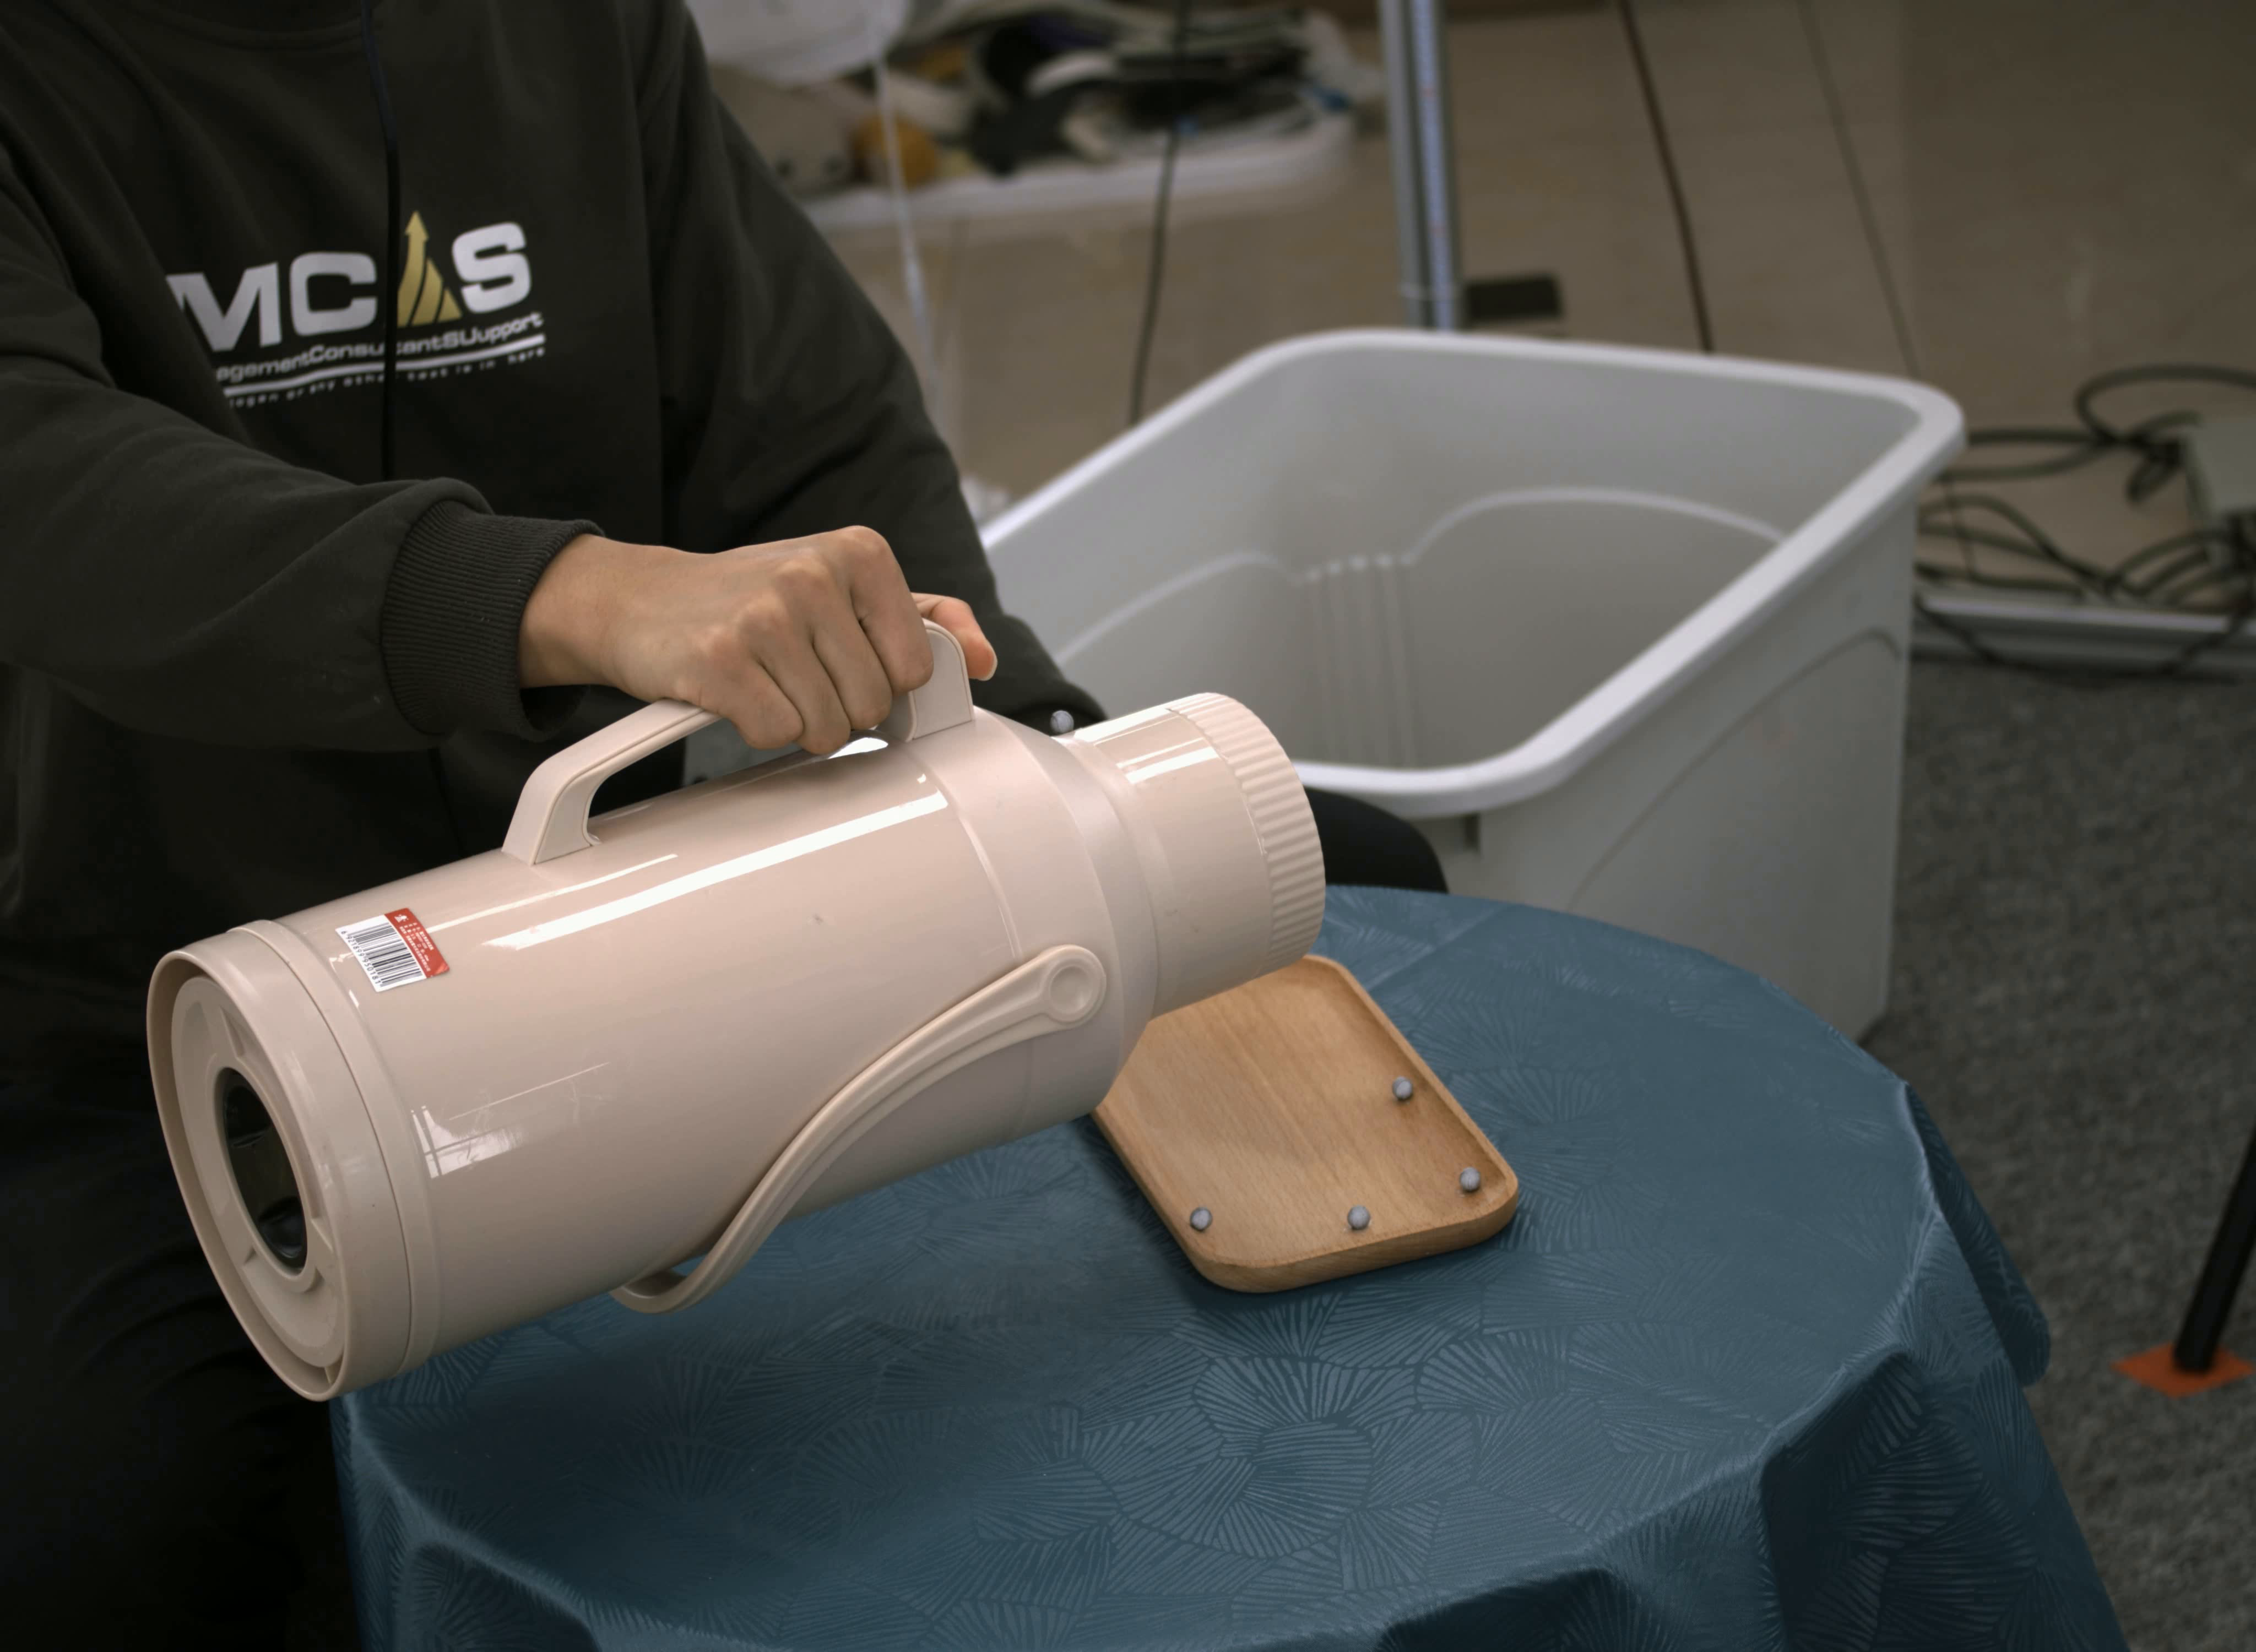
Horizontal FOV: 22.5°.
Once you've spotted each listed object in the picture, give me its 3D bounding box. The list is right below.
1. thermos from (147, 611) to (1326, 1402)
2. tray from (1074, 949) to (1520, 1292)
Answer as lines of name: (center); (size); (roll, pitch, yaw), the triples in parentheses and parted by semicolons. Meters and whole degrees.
thermos: (-0.130, 0.046, 1.971); (0.404, 0.210, 0.174); (-19, 23, -24)
tray: (0.057, 0.111, 2.175); (0.130, 0.023, 0.247); (-10, 24, -13)
